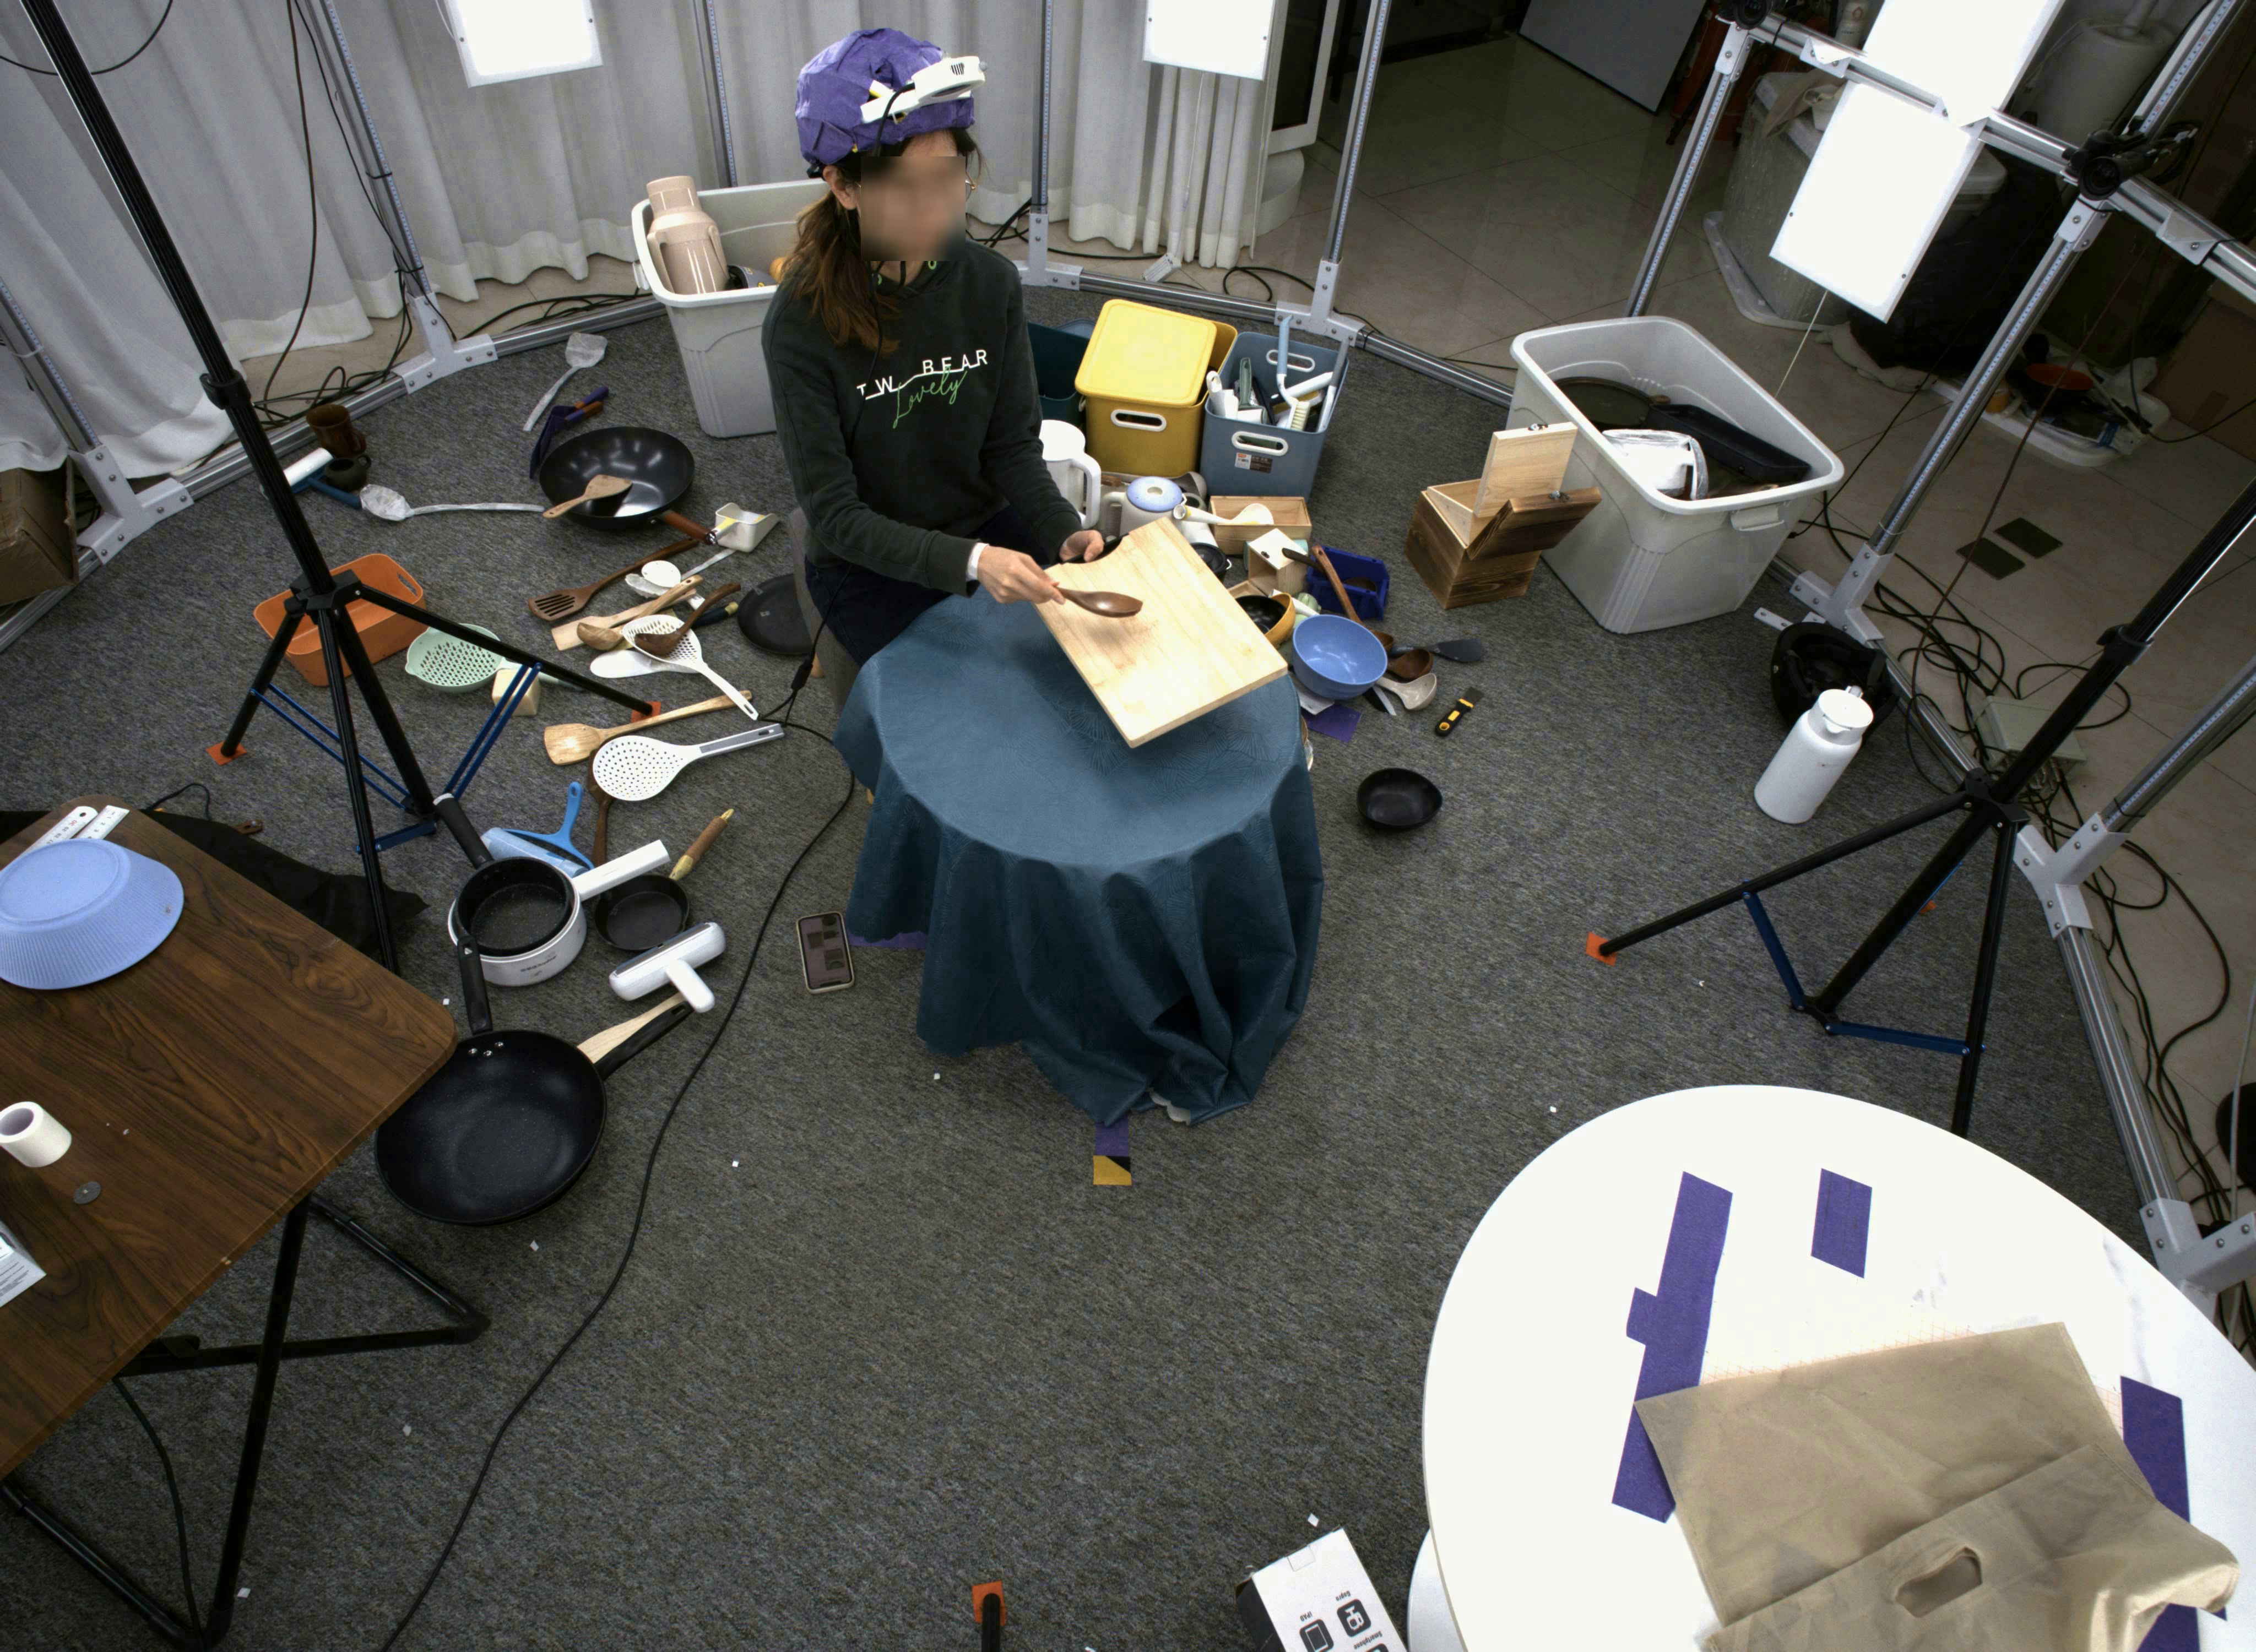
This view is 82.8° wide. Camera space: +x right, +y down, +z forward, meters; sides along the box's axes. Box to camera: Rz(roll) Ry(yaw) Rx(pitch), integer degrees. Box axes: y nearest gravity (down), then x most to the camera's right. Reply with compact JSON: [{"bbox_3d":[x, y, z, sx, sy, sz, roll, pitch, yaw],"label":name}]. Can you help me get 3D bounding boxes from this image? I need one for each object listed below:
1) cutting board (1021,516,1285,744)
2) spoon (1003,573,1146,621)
[{"bbox_3d":[0.028,-0.282,1.799,0.251,0.023,0.356,-26,55,-12],"label":"cutting board"},{"bbox_3d":[-0.076,-0.314,1.763,0.217,0.017,0.076,19,33,21],"label":"spoon"}]
